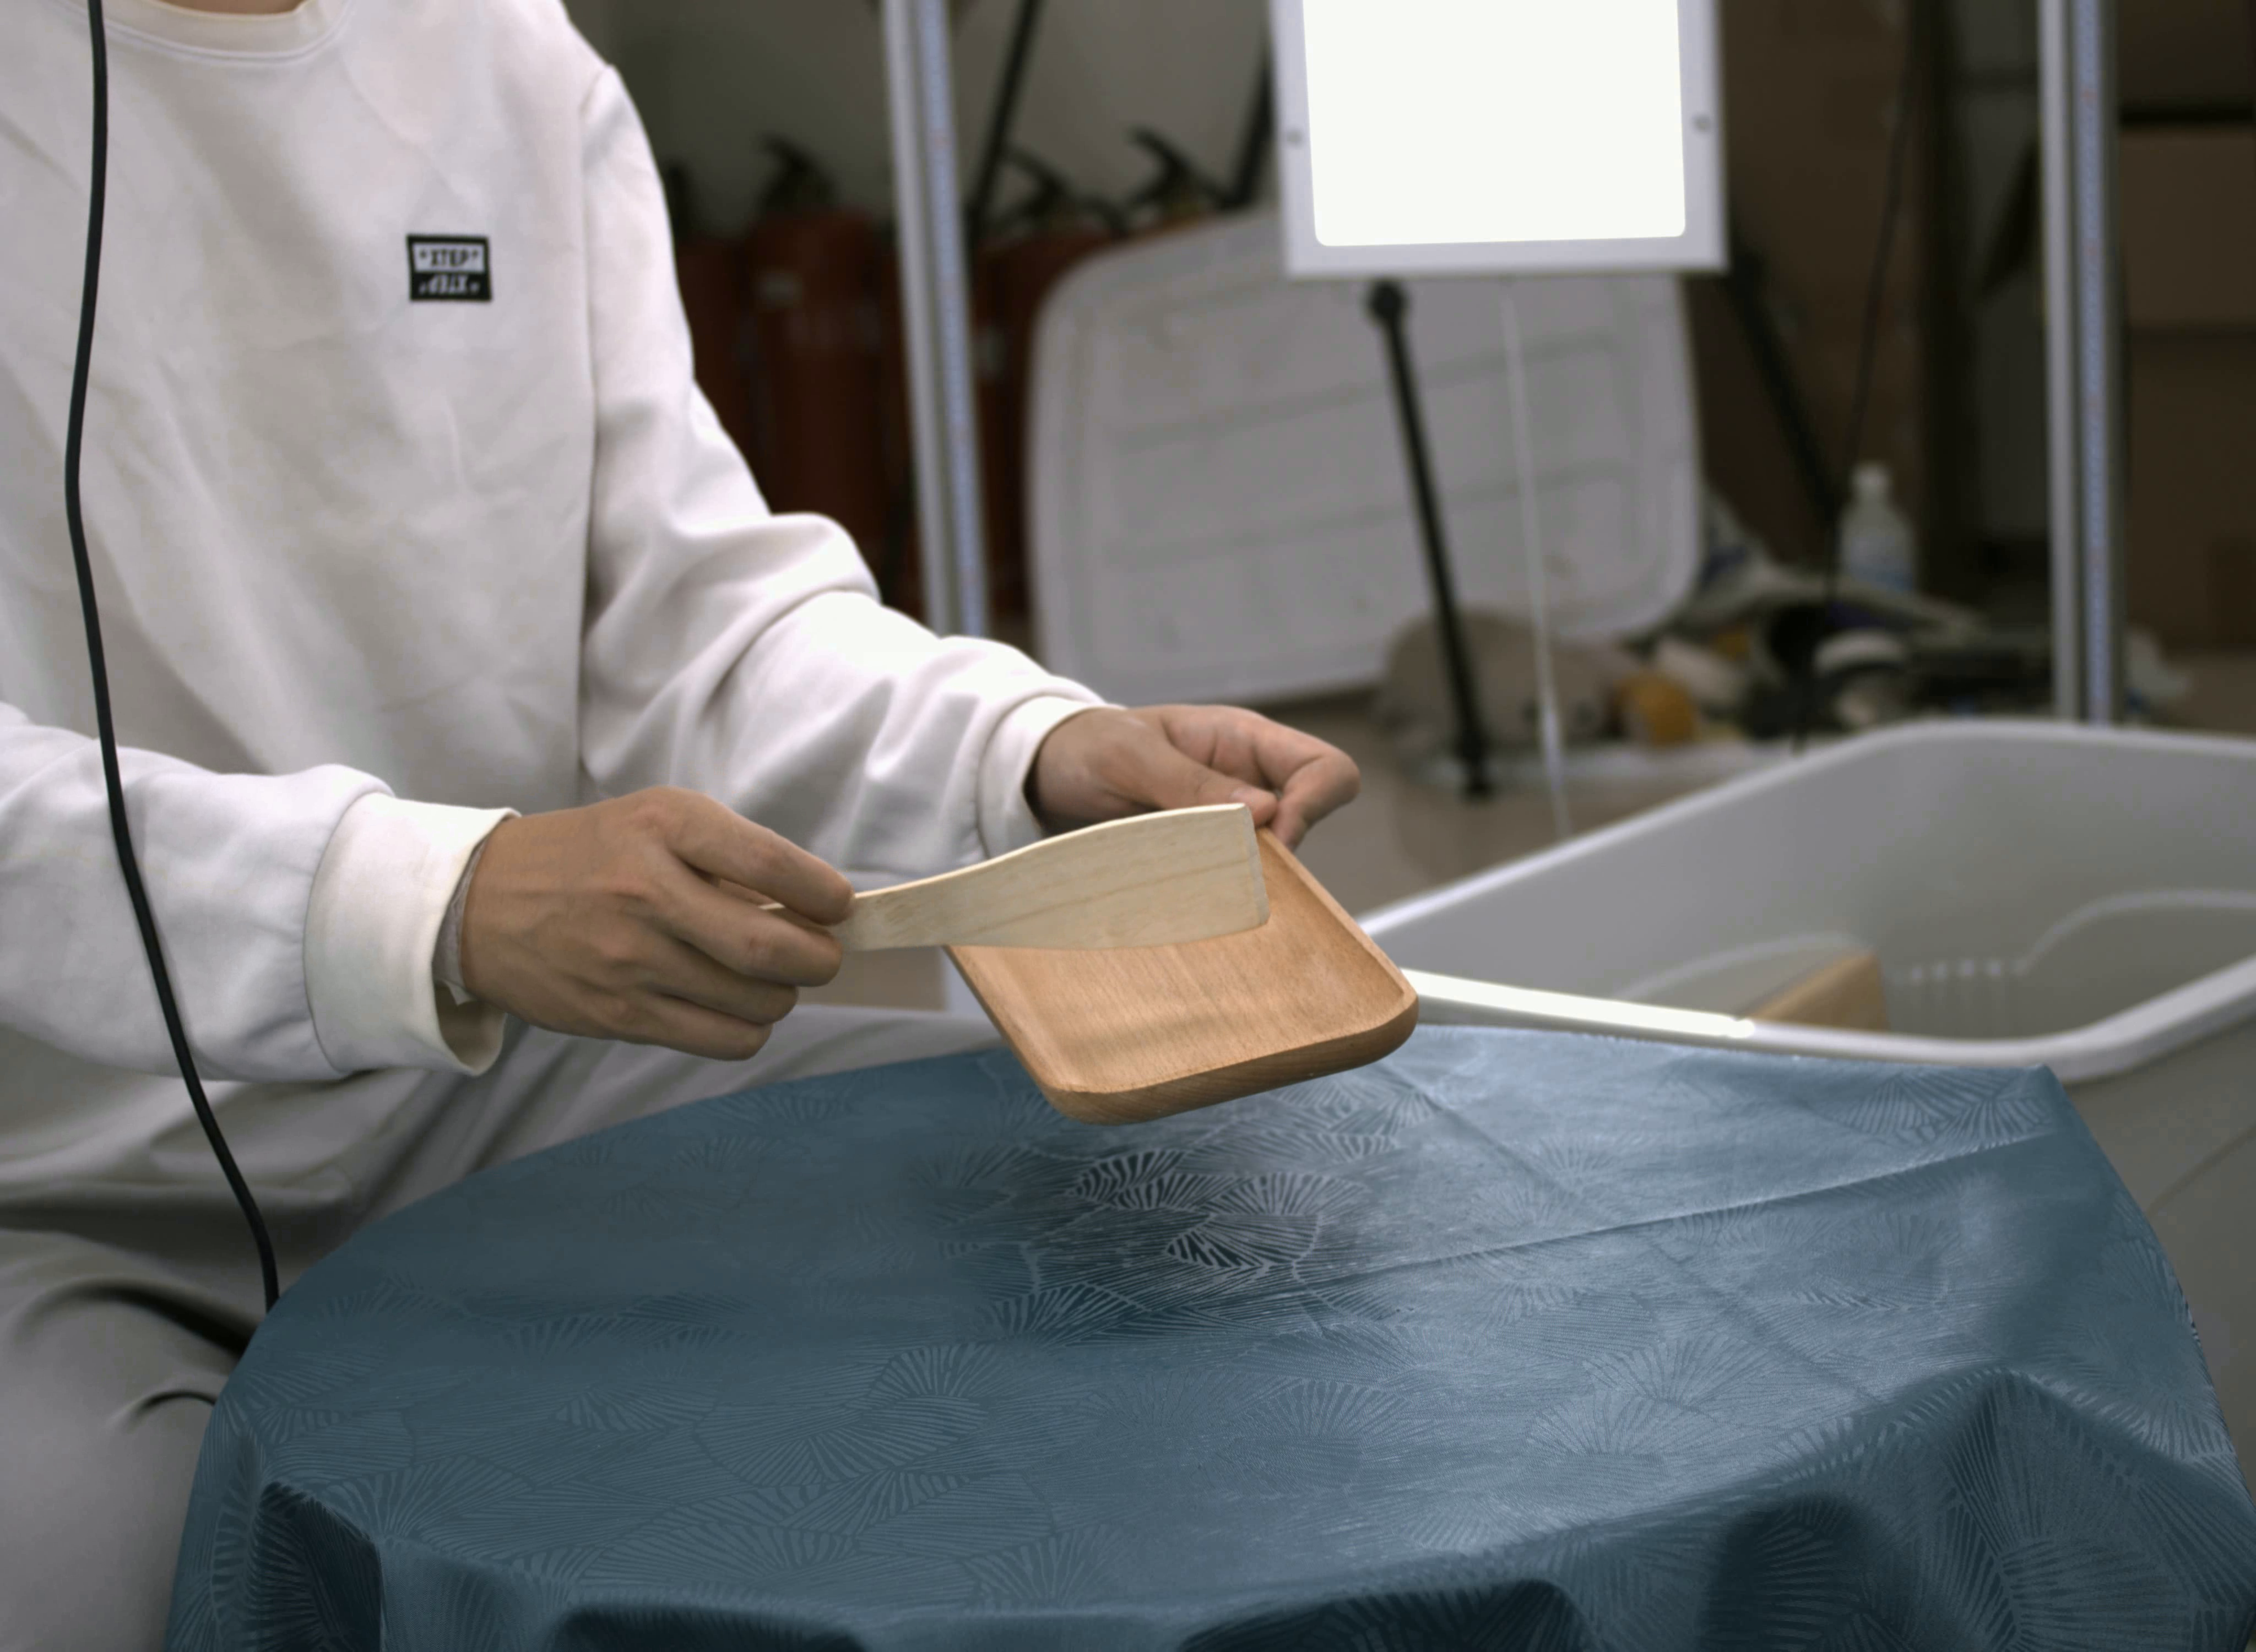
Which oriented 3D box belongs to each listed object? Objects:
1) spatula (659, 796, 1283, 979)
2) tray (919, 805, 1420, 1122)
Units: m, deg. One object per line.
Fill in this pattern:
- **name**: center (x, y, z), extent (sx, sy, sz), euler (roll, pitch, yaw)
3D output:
- **spatula**: center (-0.054, 0.027, 1.816), extent (0.209, 0.050, 0.005), euler (-9, 28, 10)
- **tray**: center (0.011, 0.044, 1.866), extent (0.129, 0.023, 0.252), euler (-11, 18, -9)
